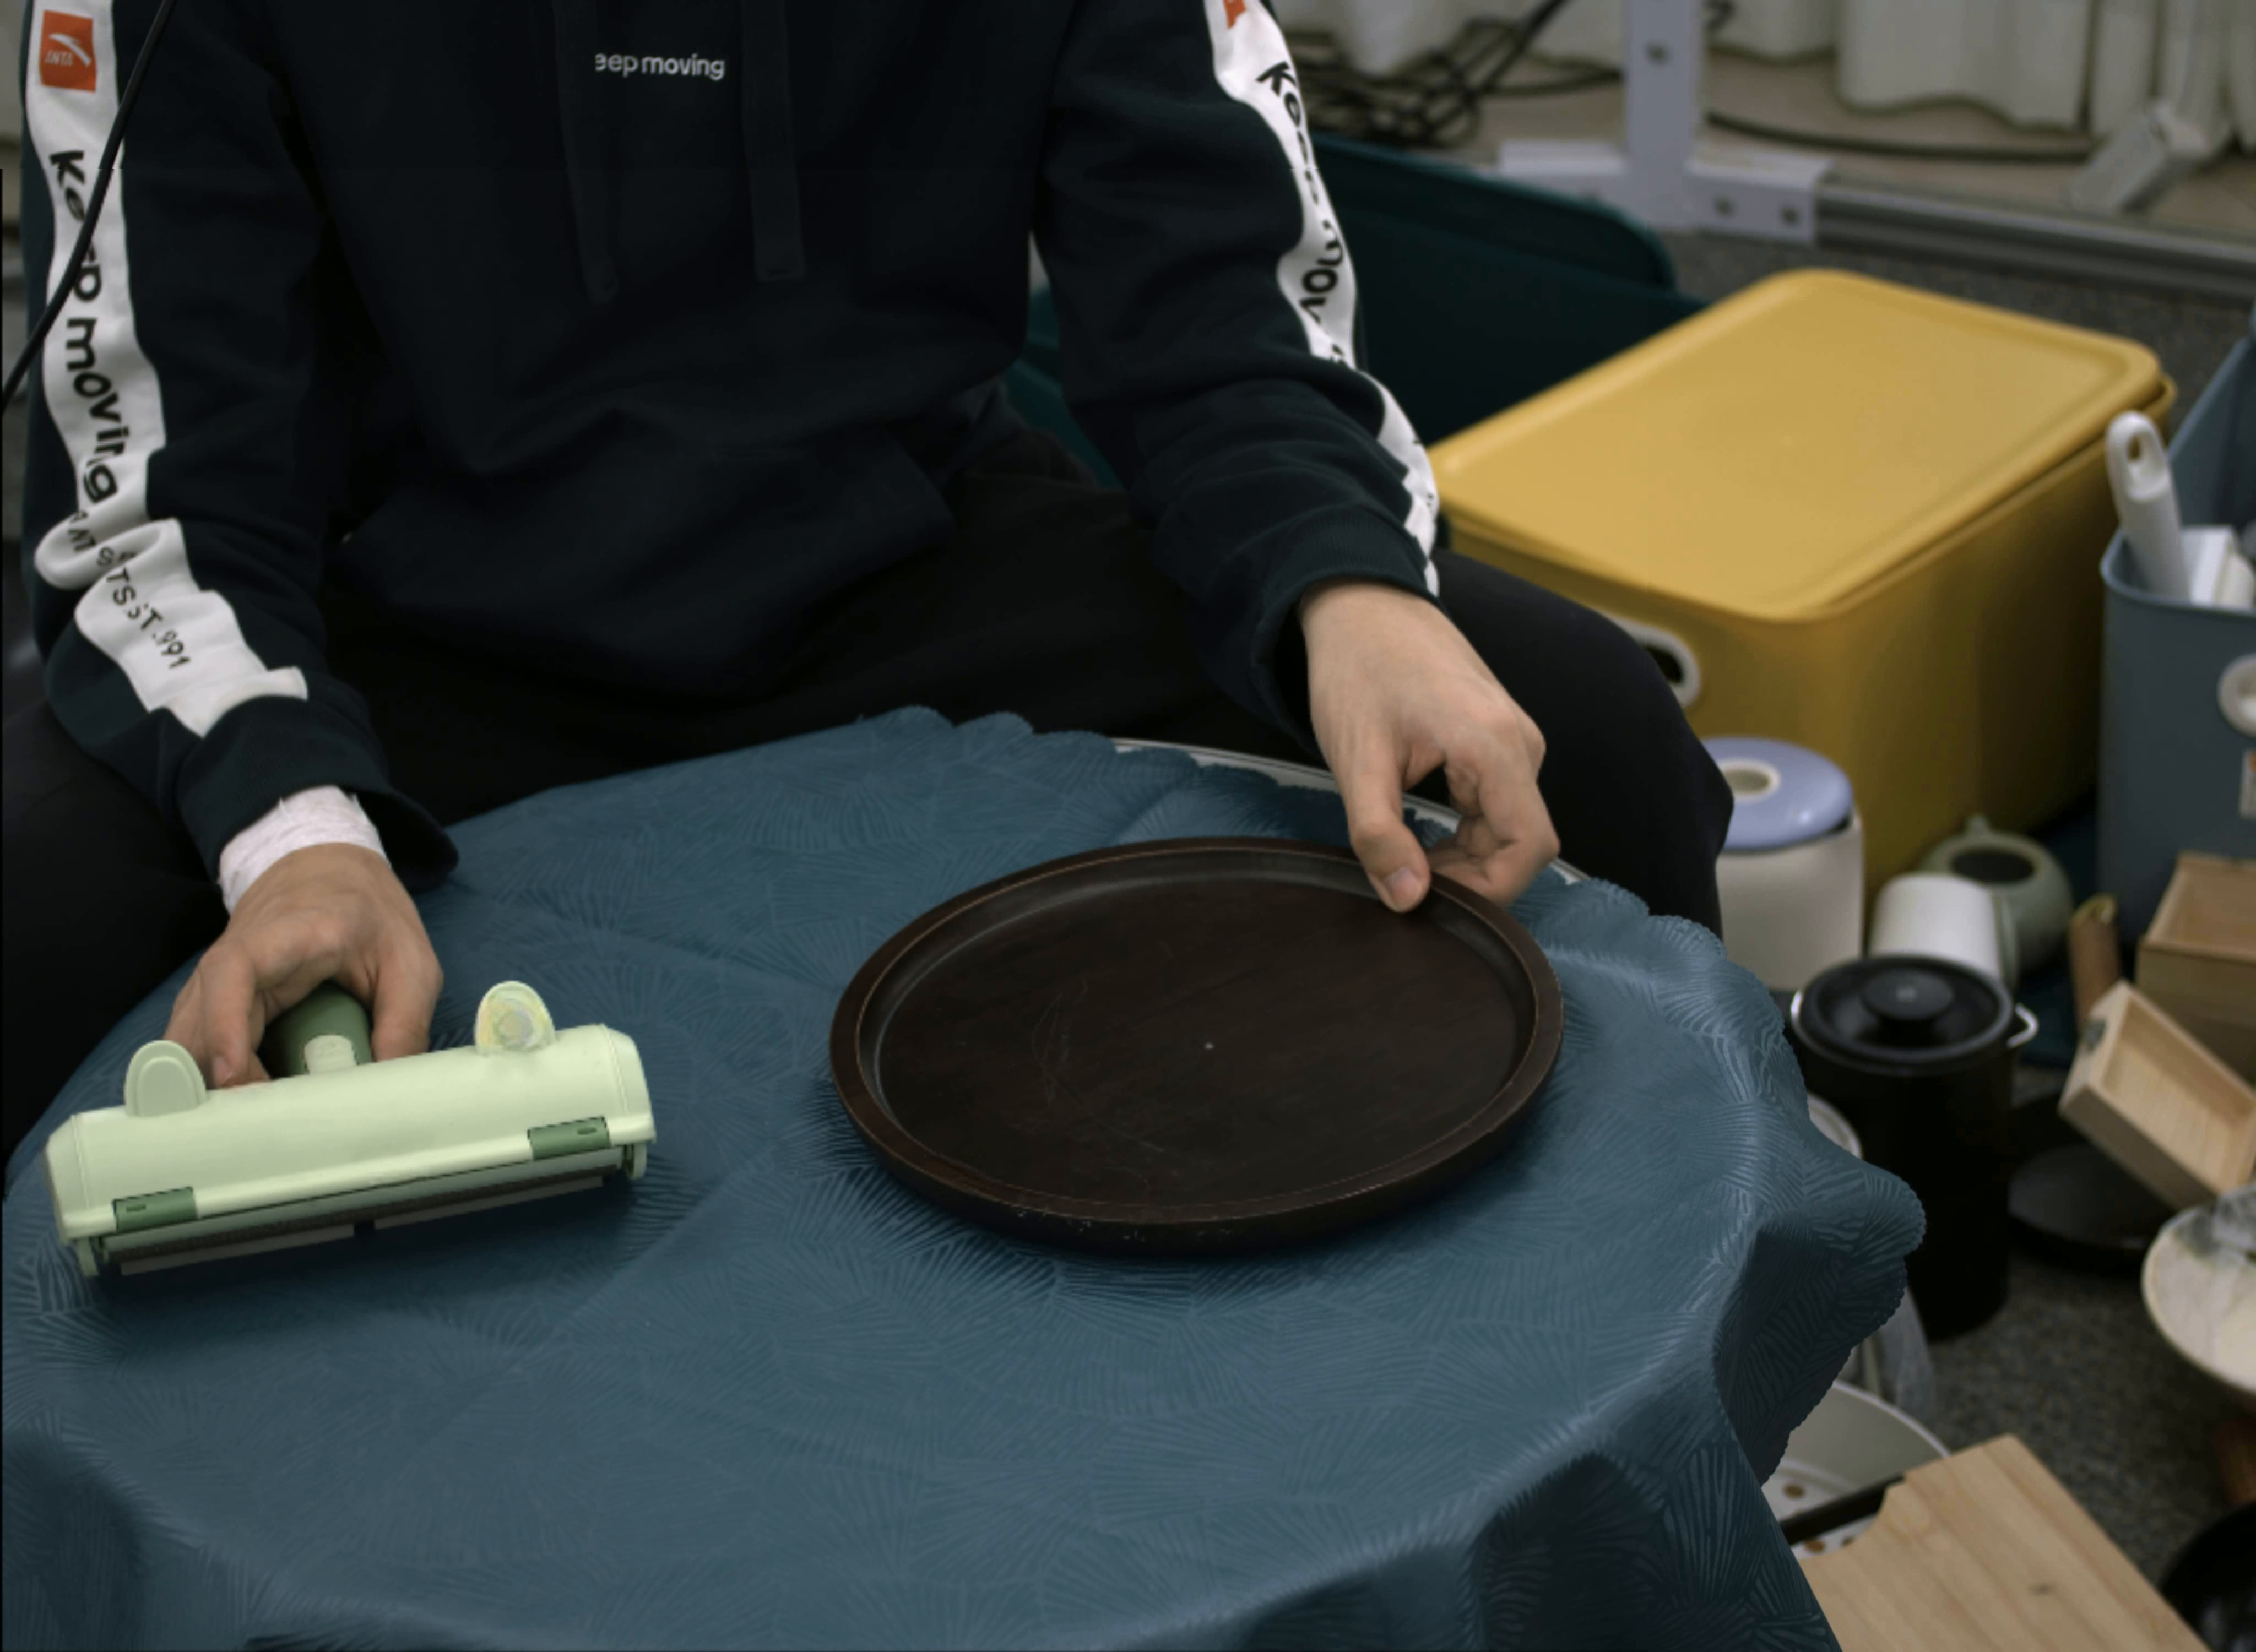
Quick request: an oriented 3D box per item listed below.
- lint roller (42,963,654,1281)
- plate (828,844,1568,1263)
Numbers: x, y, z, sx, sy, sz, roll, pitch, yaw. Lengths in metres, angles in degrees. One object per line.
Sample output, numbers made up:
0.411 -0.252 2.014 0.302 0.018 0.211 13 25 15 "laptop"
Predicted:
-0.270 0.074 1.891 0.198 0.081 0.185 -9 31 -12 "lint roller"
0.024 0.076 1.917 0.253 0.029 0.259 -3 29 2 "plate"
